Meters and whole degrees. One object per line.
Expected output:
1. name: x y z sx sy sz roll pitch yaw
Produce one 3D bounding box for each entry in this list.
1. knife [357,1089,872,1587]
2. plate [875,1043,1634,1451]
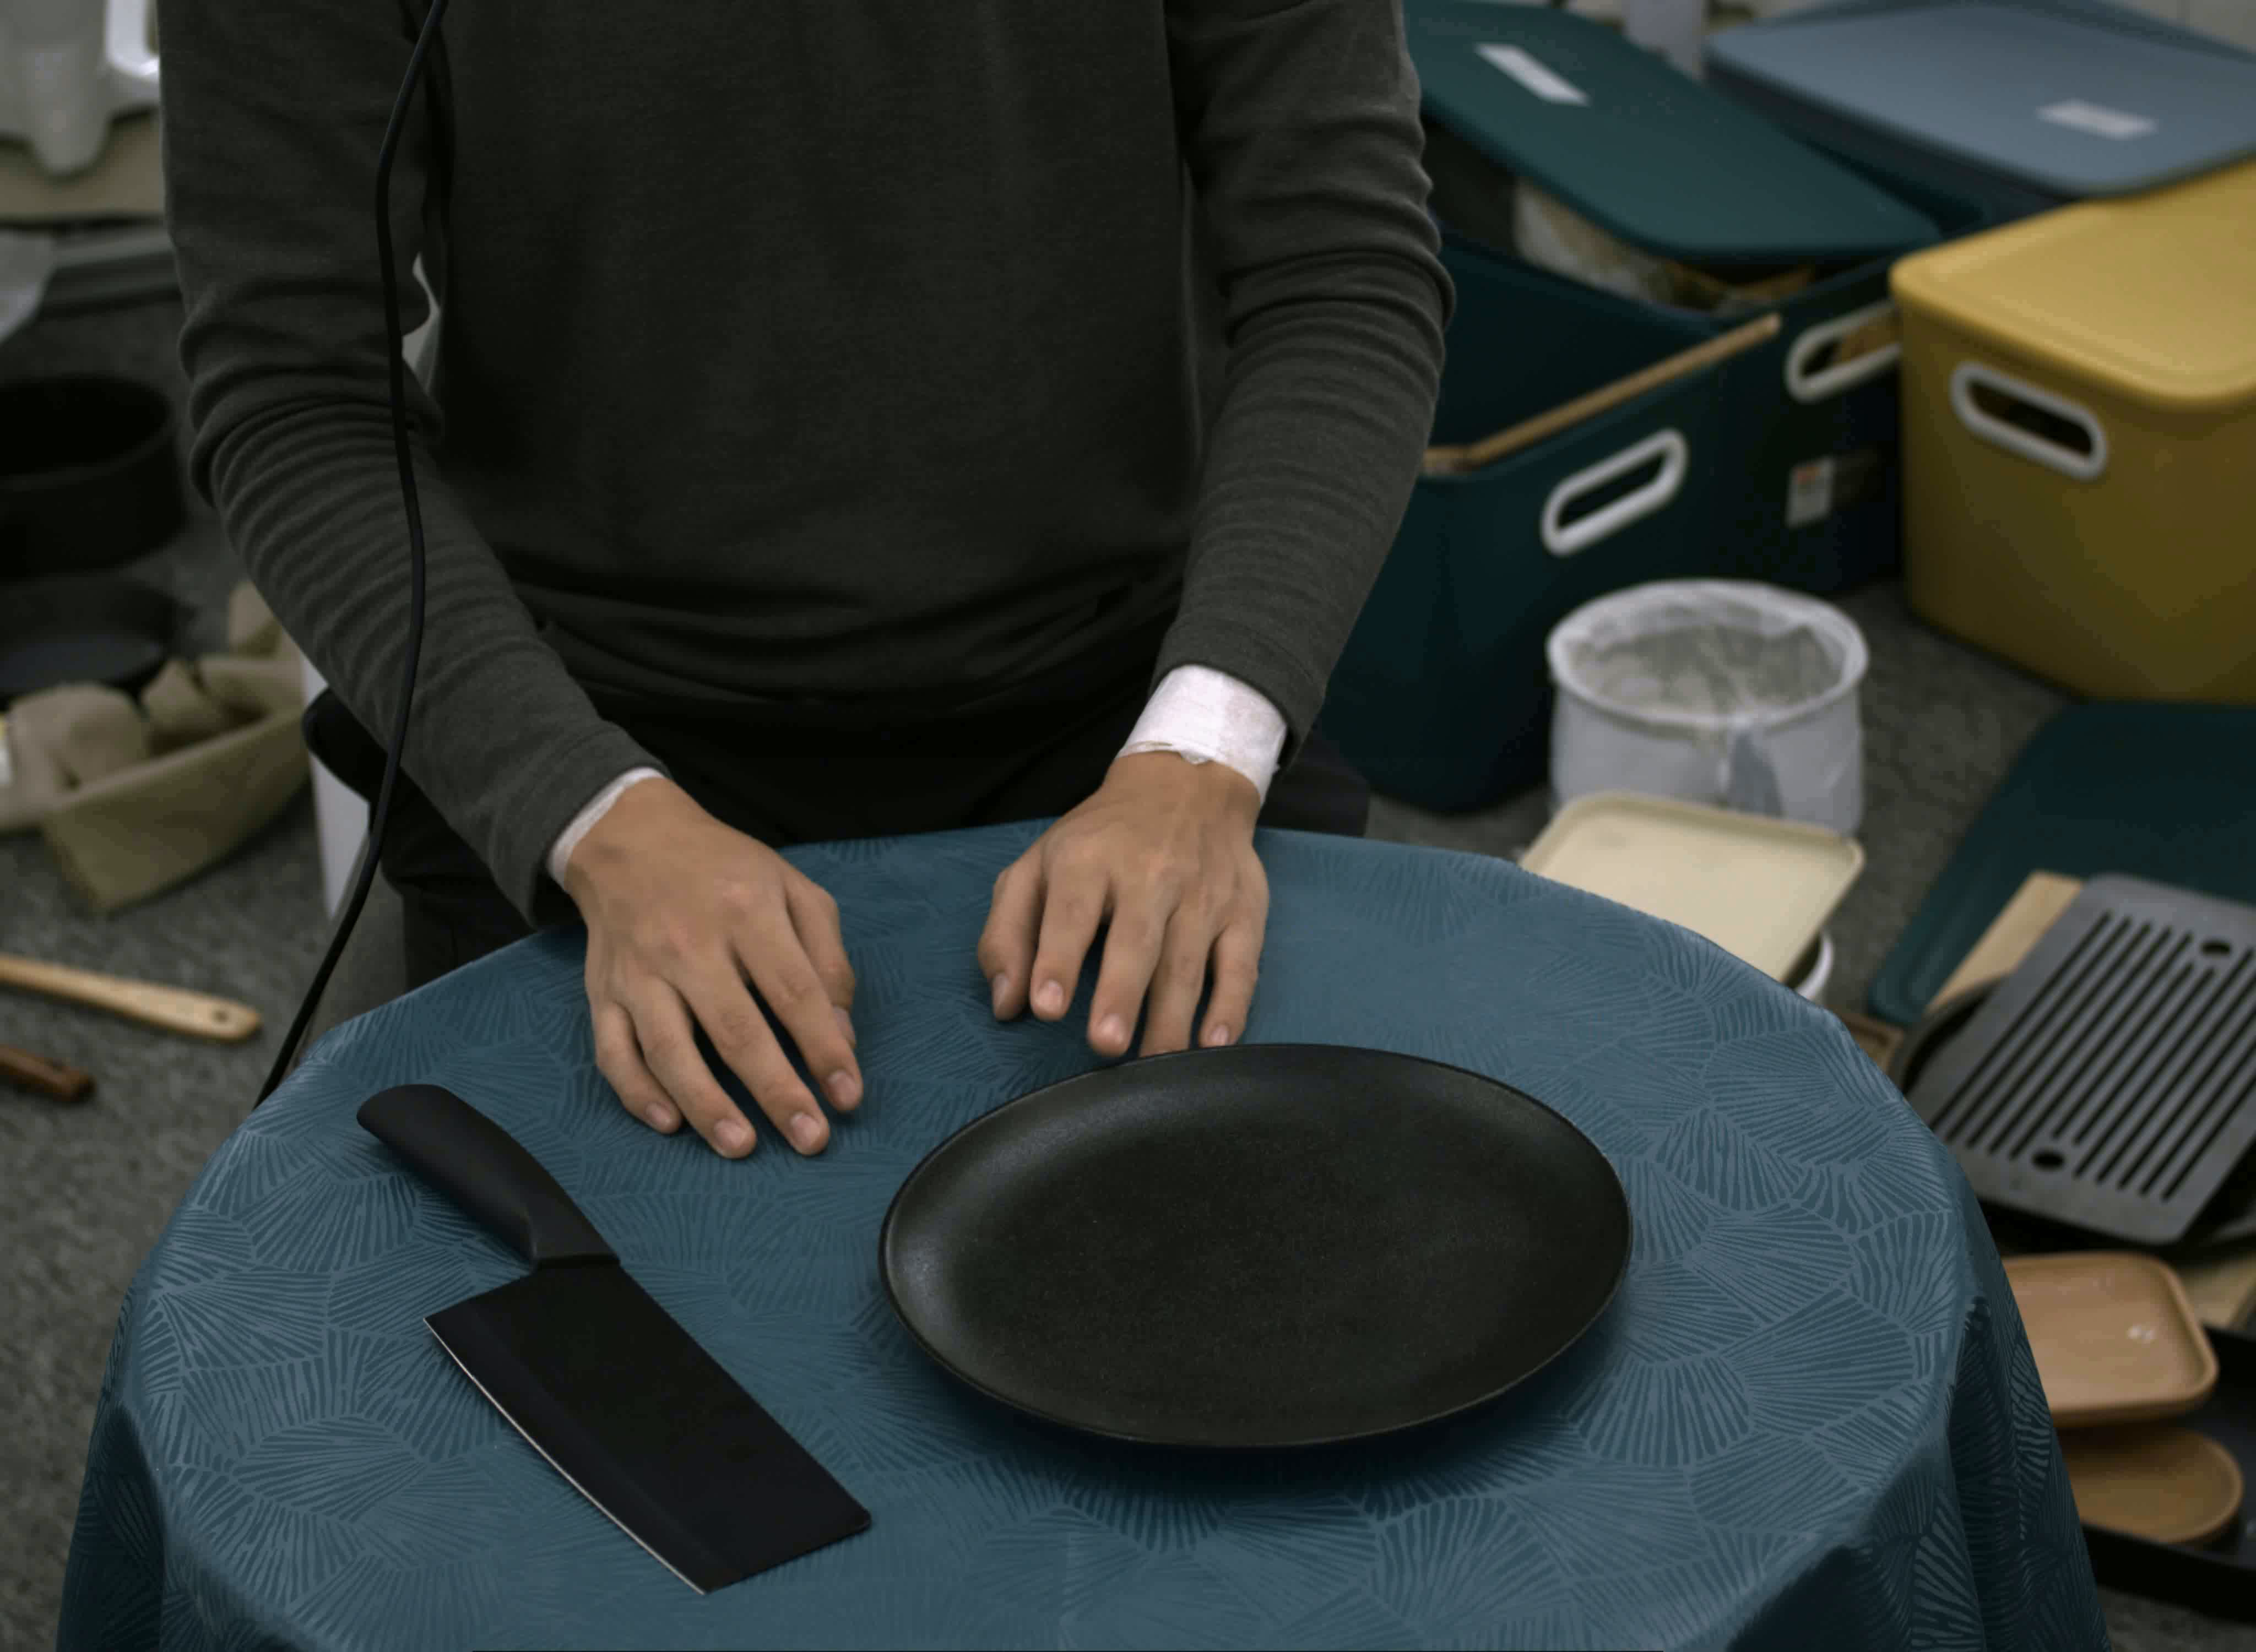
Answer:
1. knife: -0.179 0.159 1.791 0.081 0.020 0.304 -17 32 -23
2. plate: 0.040 0.139 1.800 0.243 0.023 0.248 -2 27 1
